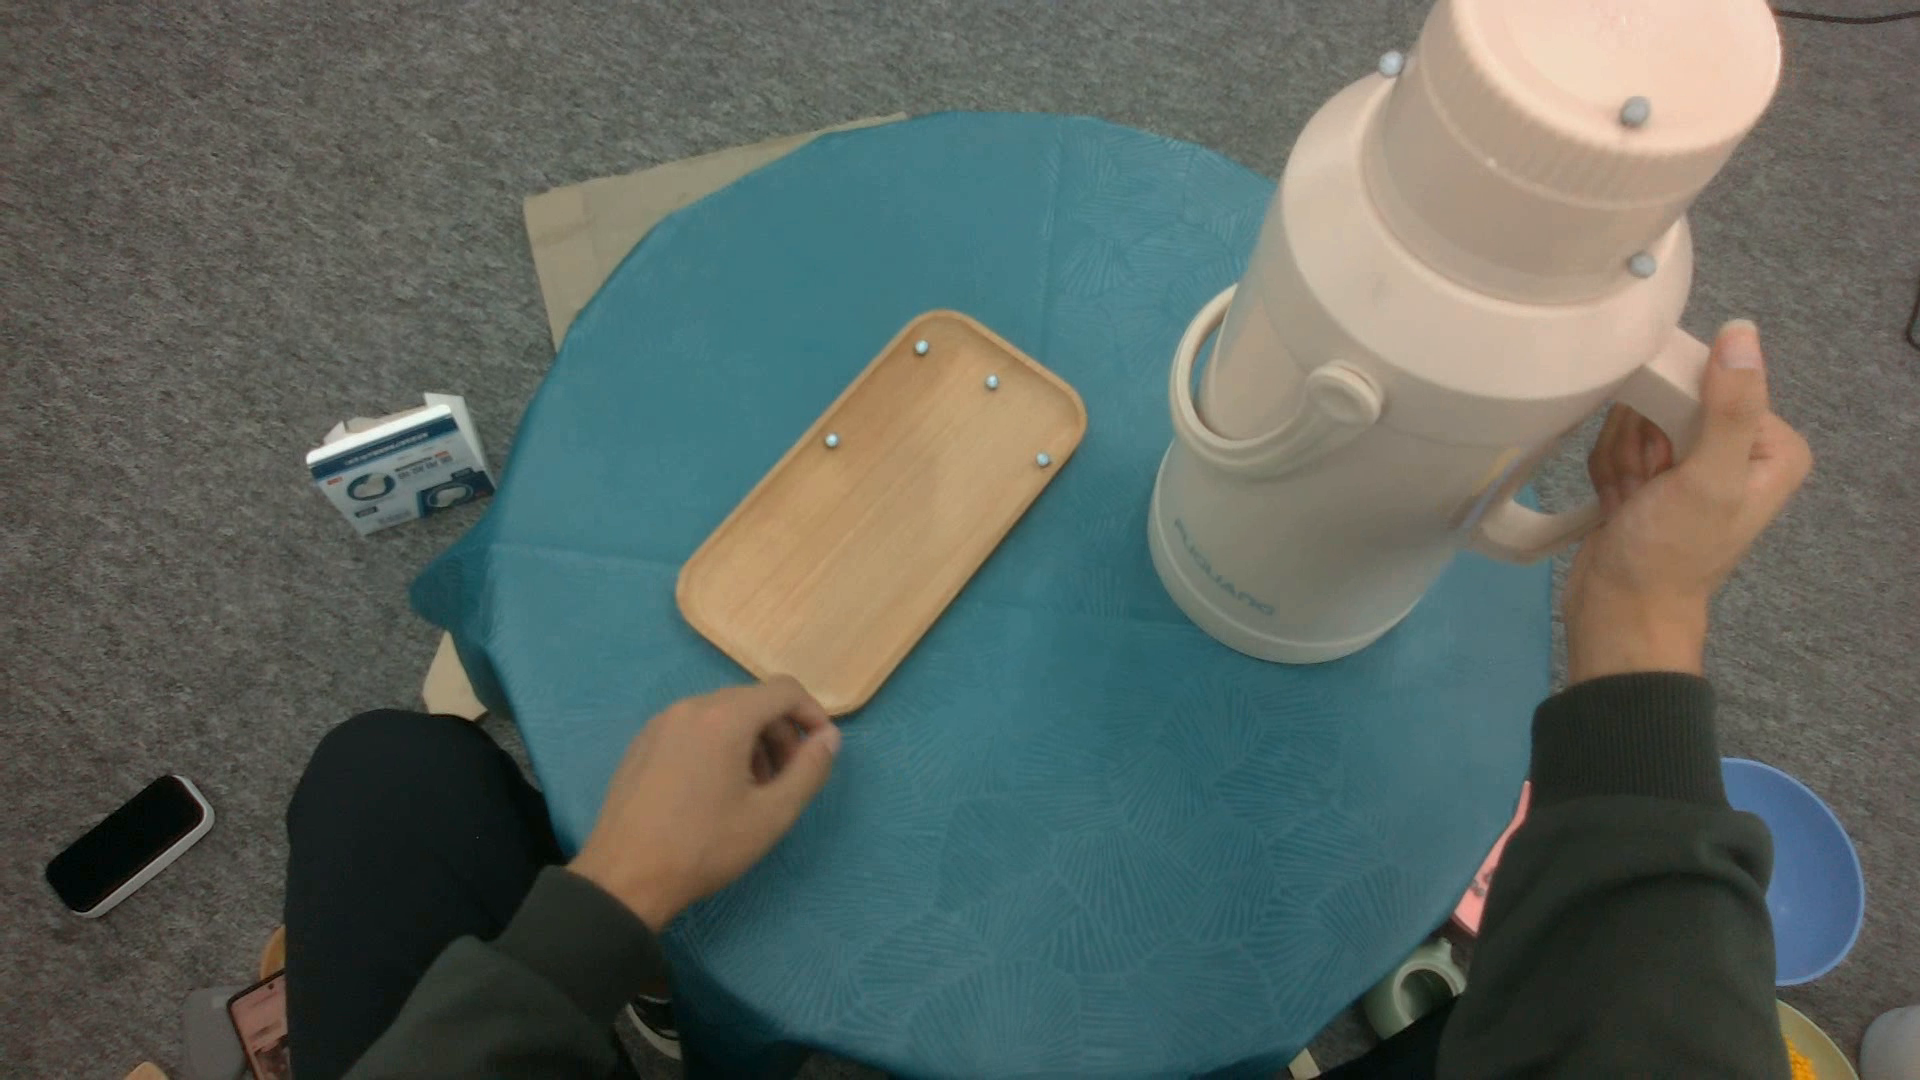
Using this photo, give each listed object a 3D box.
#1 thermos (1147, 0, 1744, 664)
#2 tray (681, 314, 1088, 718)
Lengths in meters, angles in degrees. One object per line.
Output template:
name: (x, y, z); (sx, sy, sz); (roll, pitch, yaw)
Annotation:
thermos: (0.204, -0.072, 0.622); (0.207, 0.404, 0.176); (37, 69, 14)
tray: (-0.039, -0.019, 0.792); (0.130, 0.023, 0.251); (36, 70, 14)
